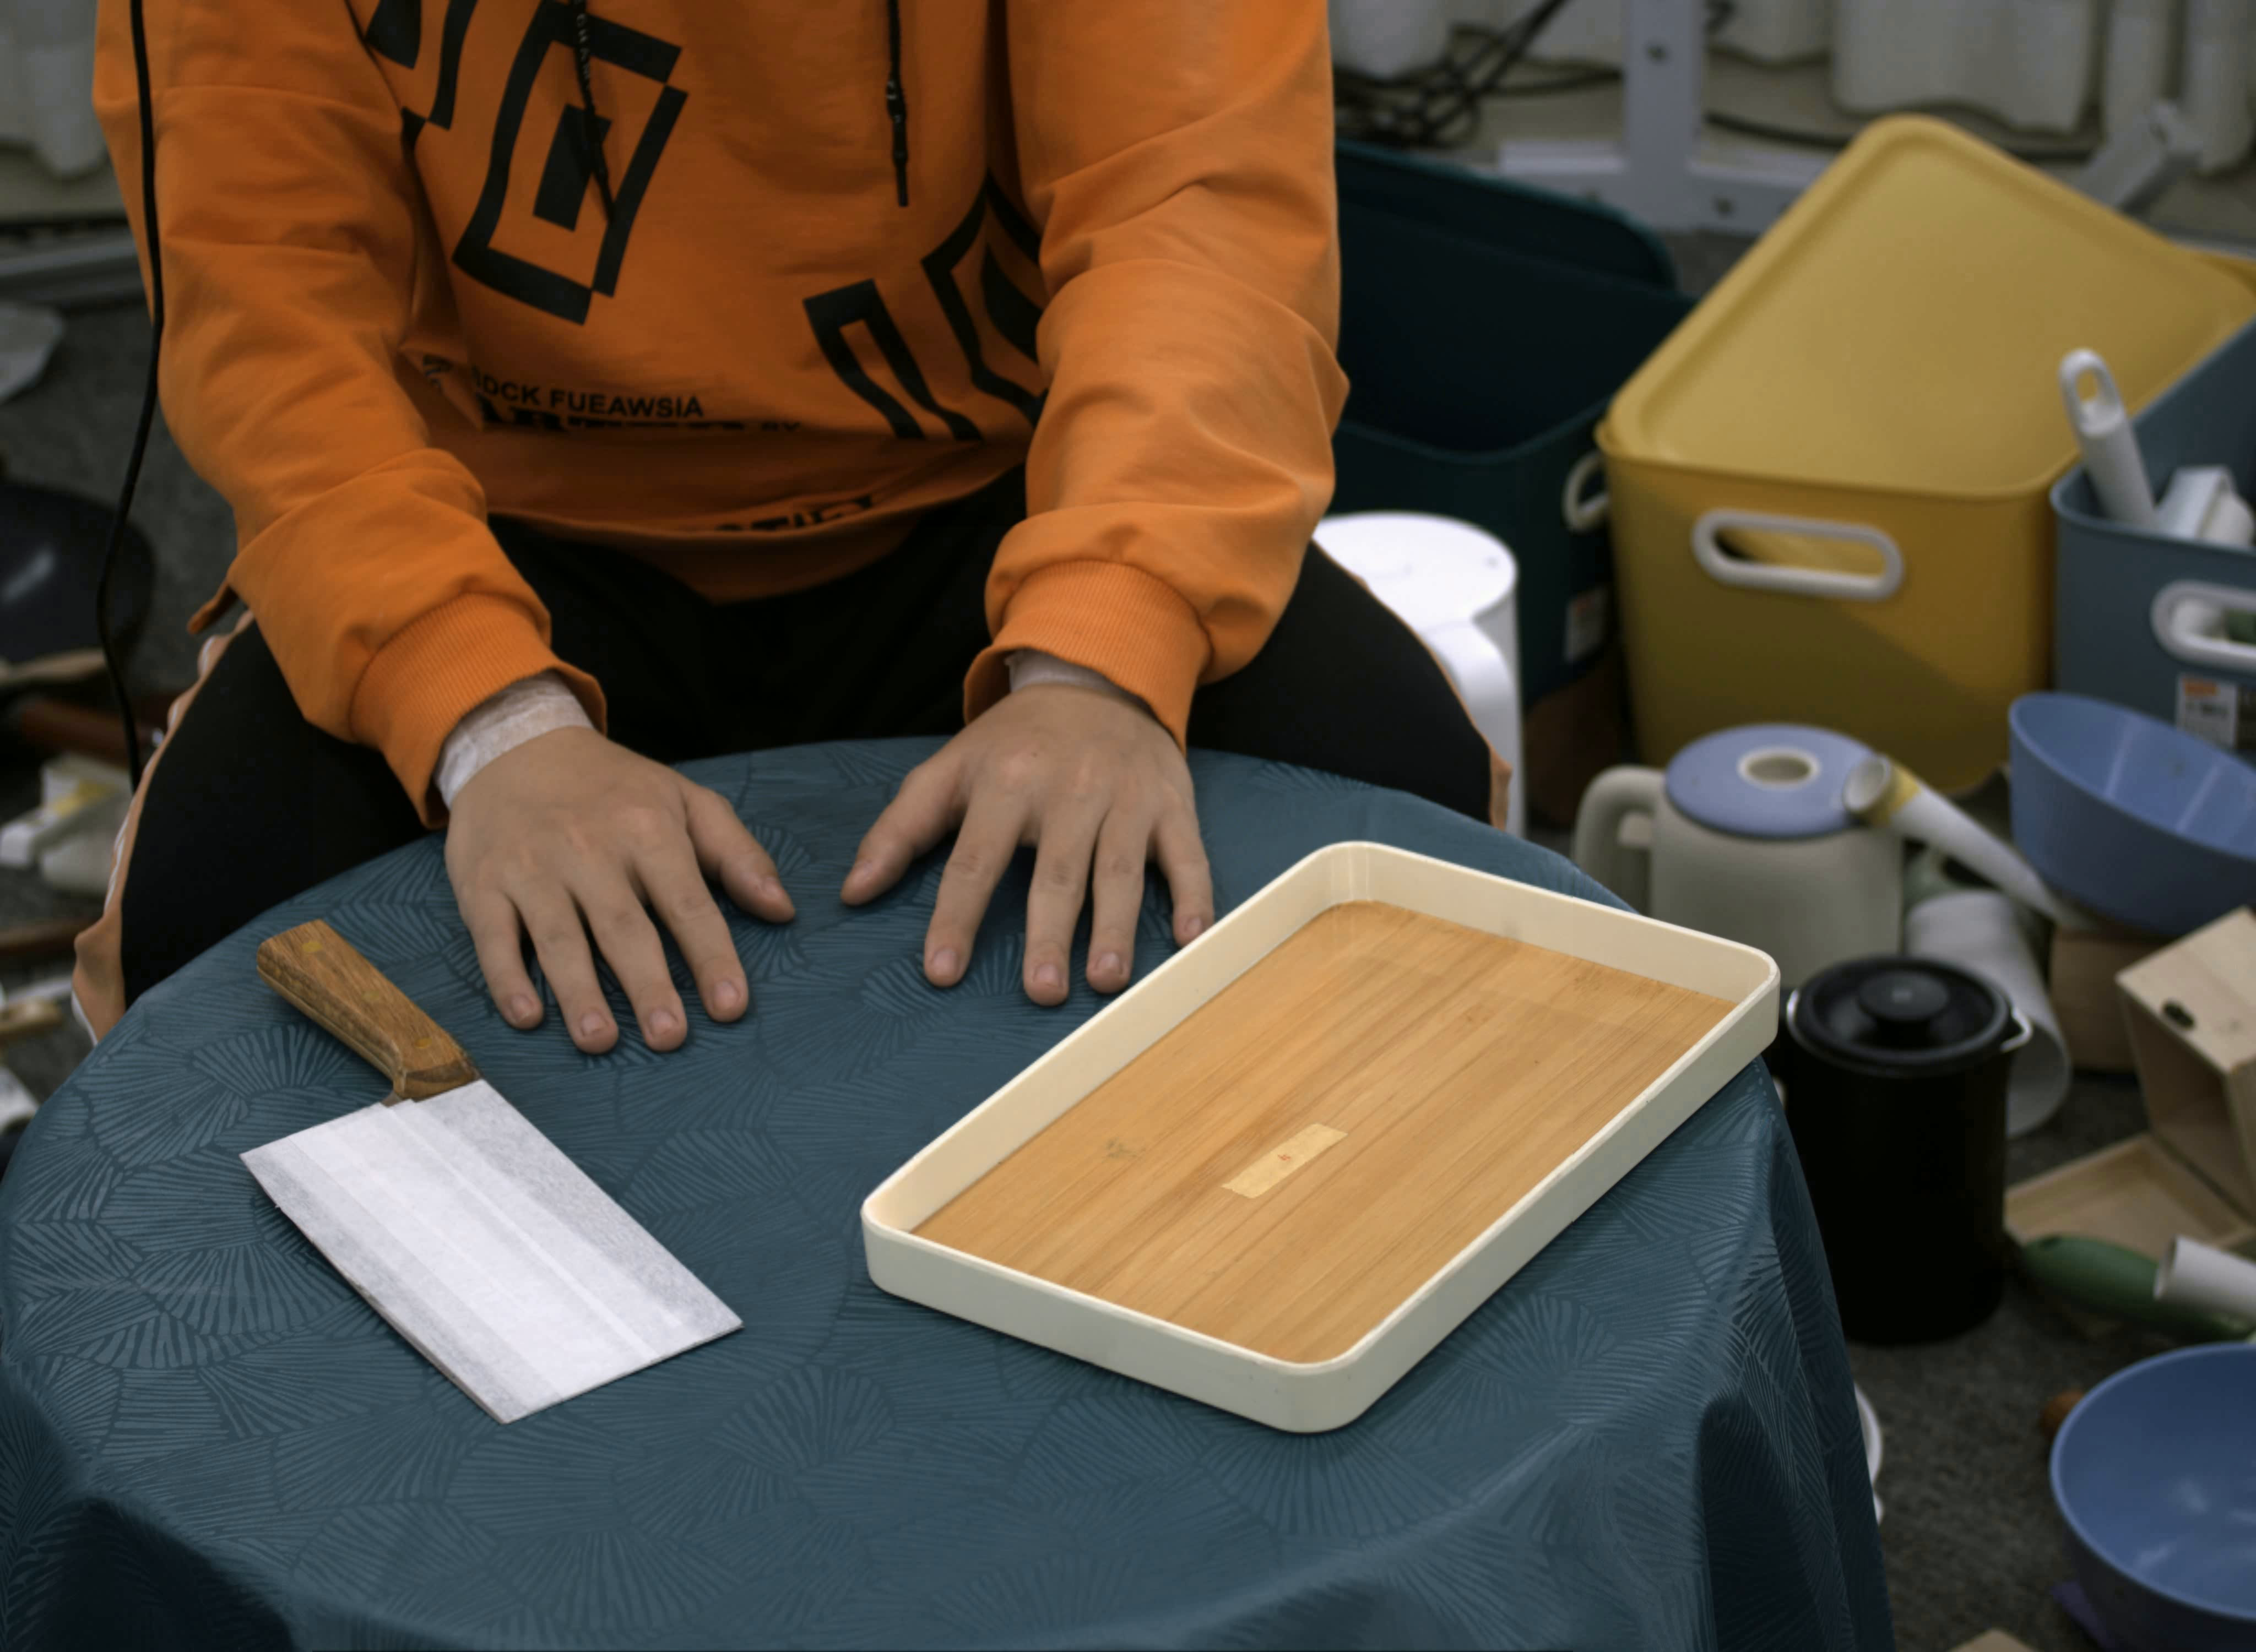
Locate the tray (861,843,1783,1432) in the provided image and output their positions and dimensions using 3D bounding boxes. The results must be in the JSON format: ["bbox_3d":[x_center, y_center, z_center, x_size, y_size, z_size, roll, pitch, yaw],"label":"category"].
[{"bbox_3d":[0.069,0.097,1.873,0.190,0.027,0.305,15,33,32],"label":"tray"}]

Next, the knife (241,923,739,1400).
[{"bbox_3d":[-0.241,0.113,1.887,0.093,0.021,0.307,-20,34,-27],"label":"knife"}]
